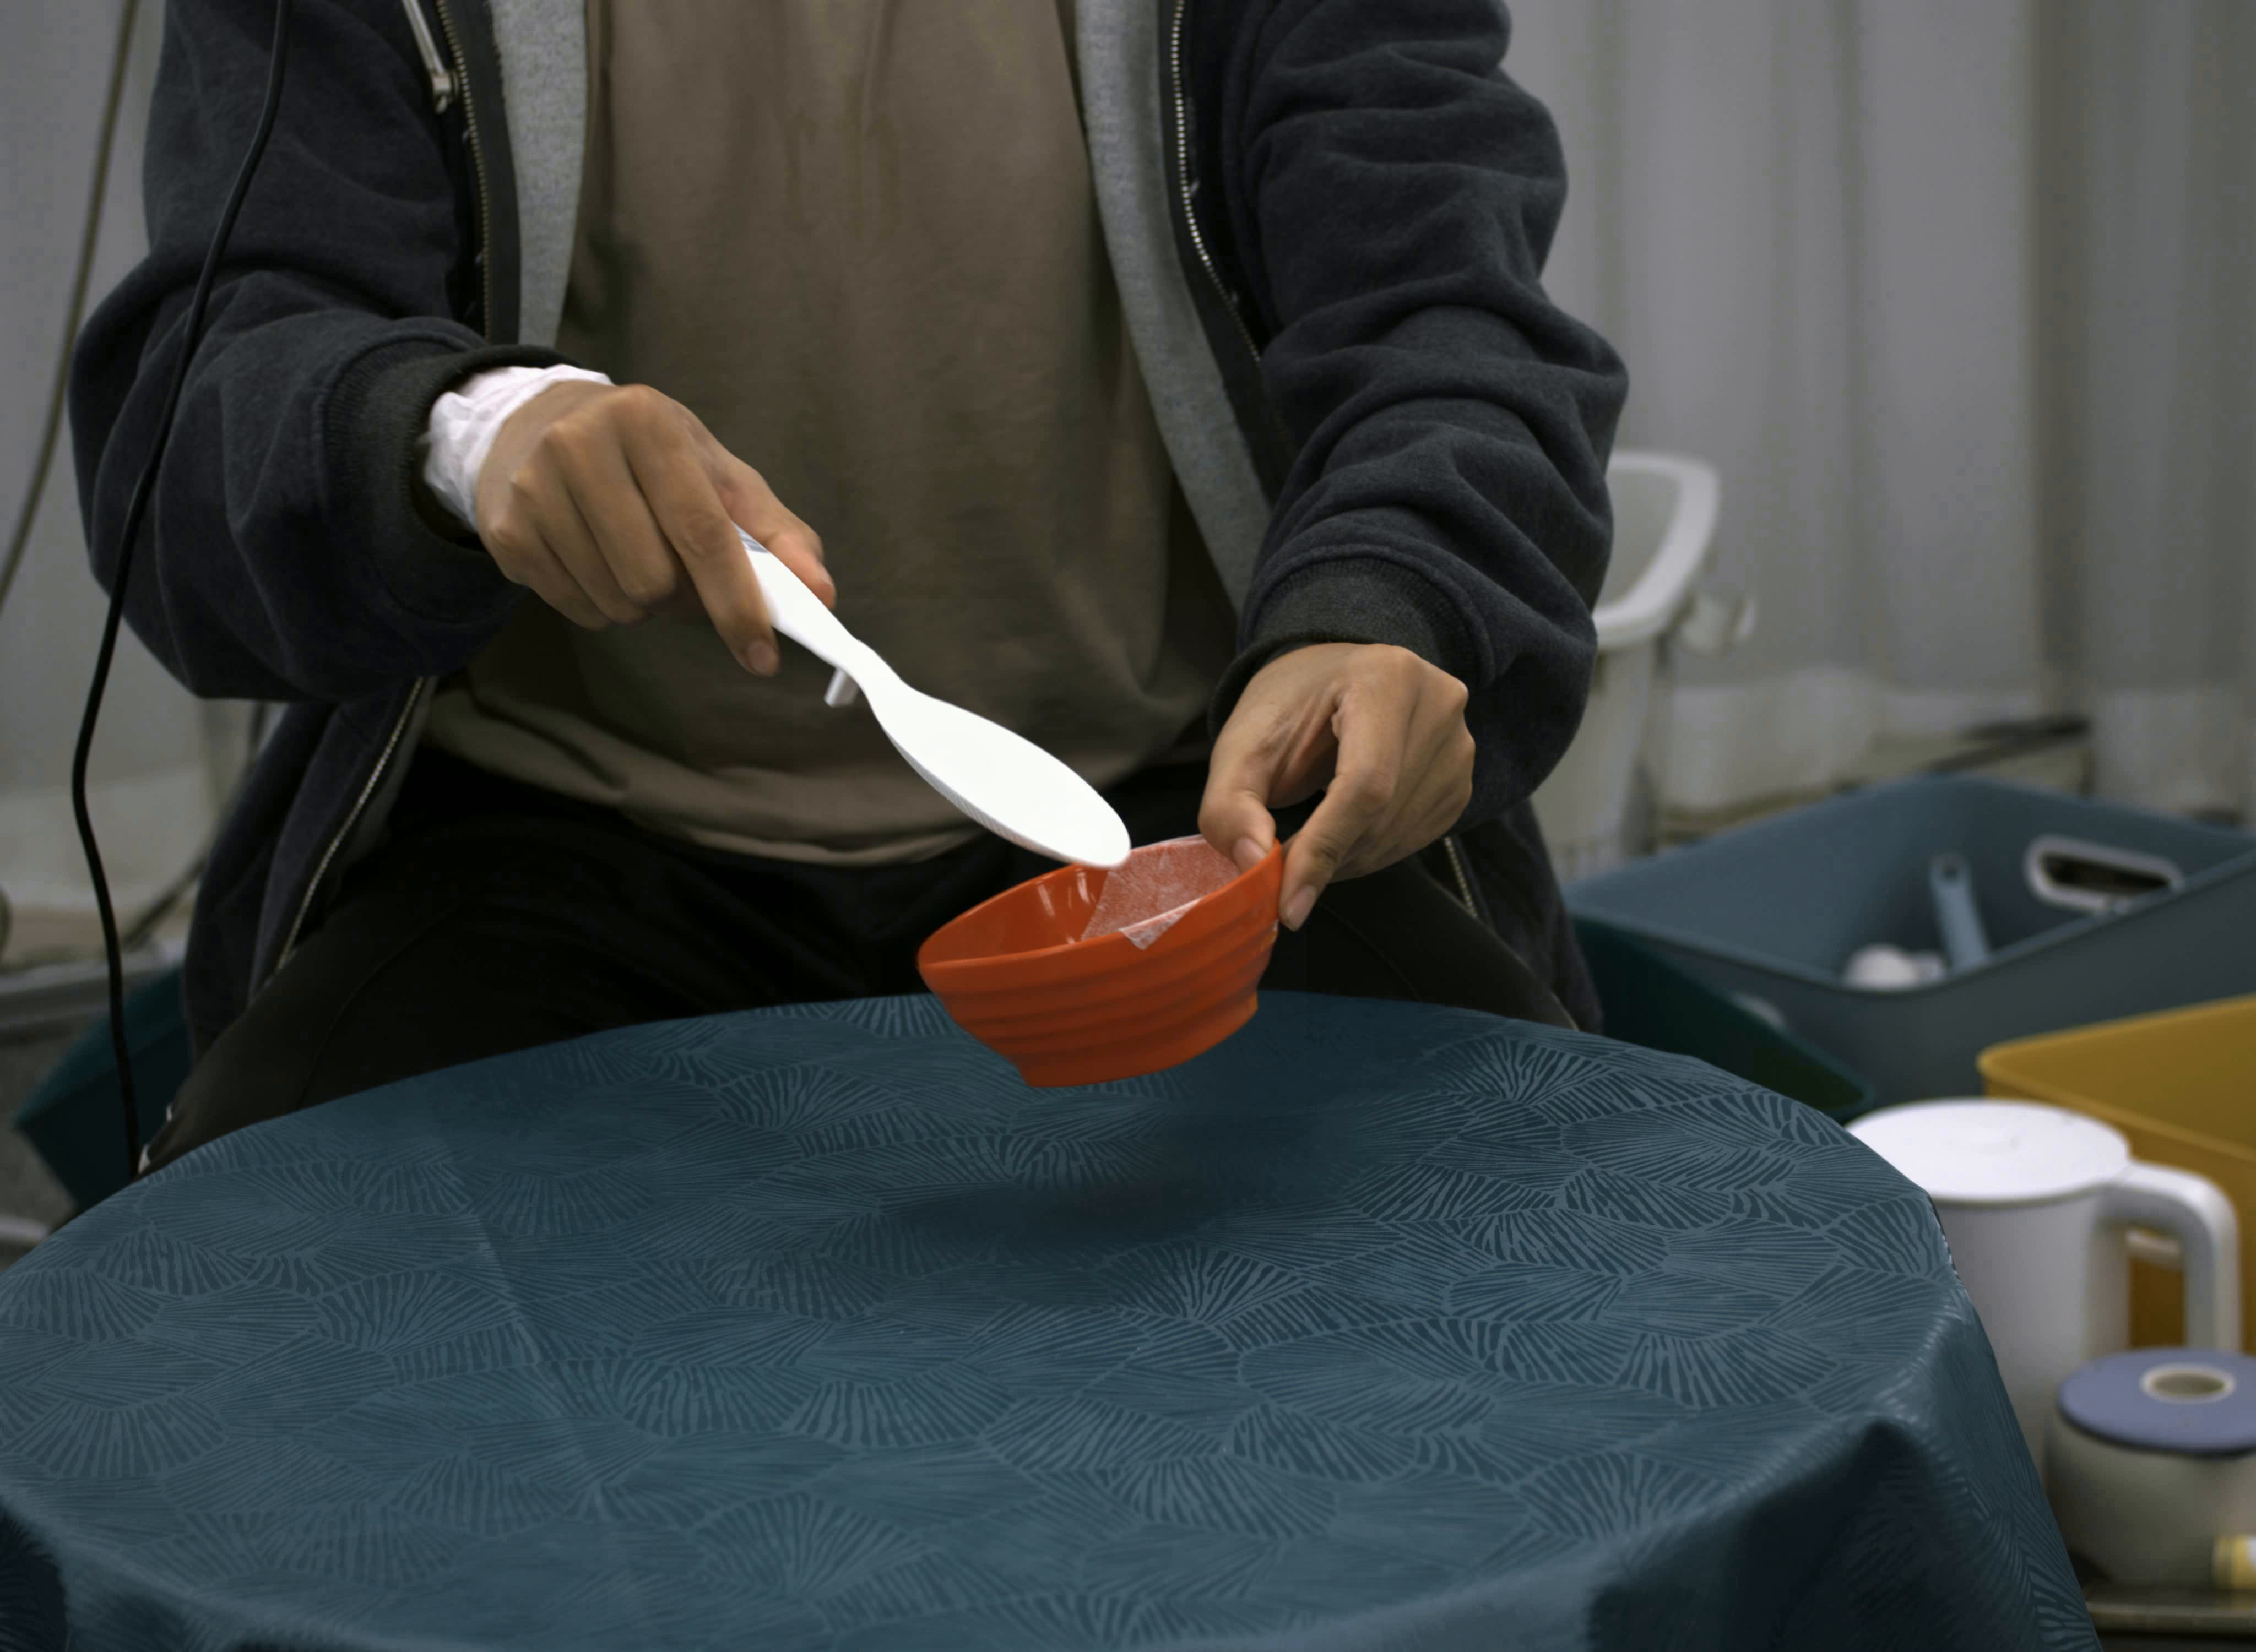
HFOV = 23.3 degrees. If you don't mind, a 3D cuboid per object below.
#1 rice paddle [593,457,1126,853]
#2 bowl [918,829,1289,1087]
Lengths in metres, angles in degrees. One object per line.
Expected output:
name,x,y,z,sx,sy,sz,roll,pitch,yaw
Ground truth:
rice paddle,-0.081,-0.050,1.699,0.207,0.029,0.068,35,22,22
bowl,-0.002,0.044,1.683,0.118,0.051,0.119,-16,12,3
